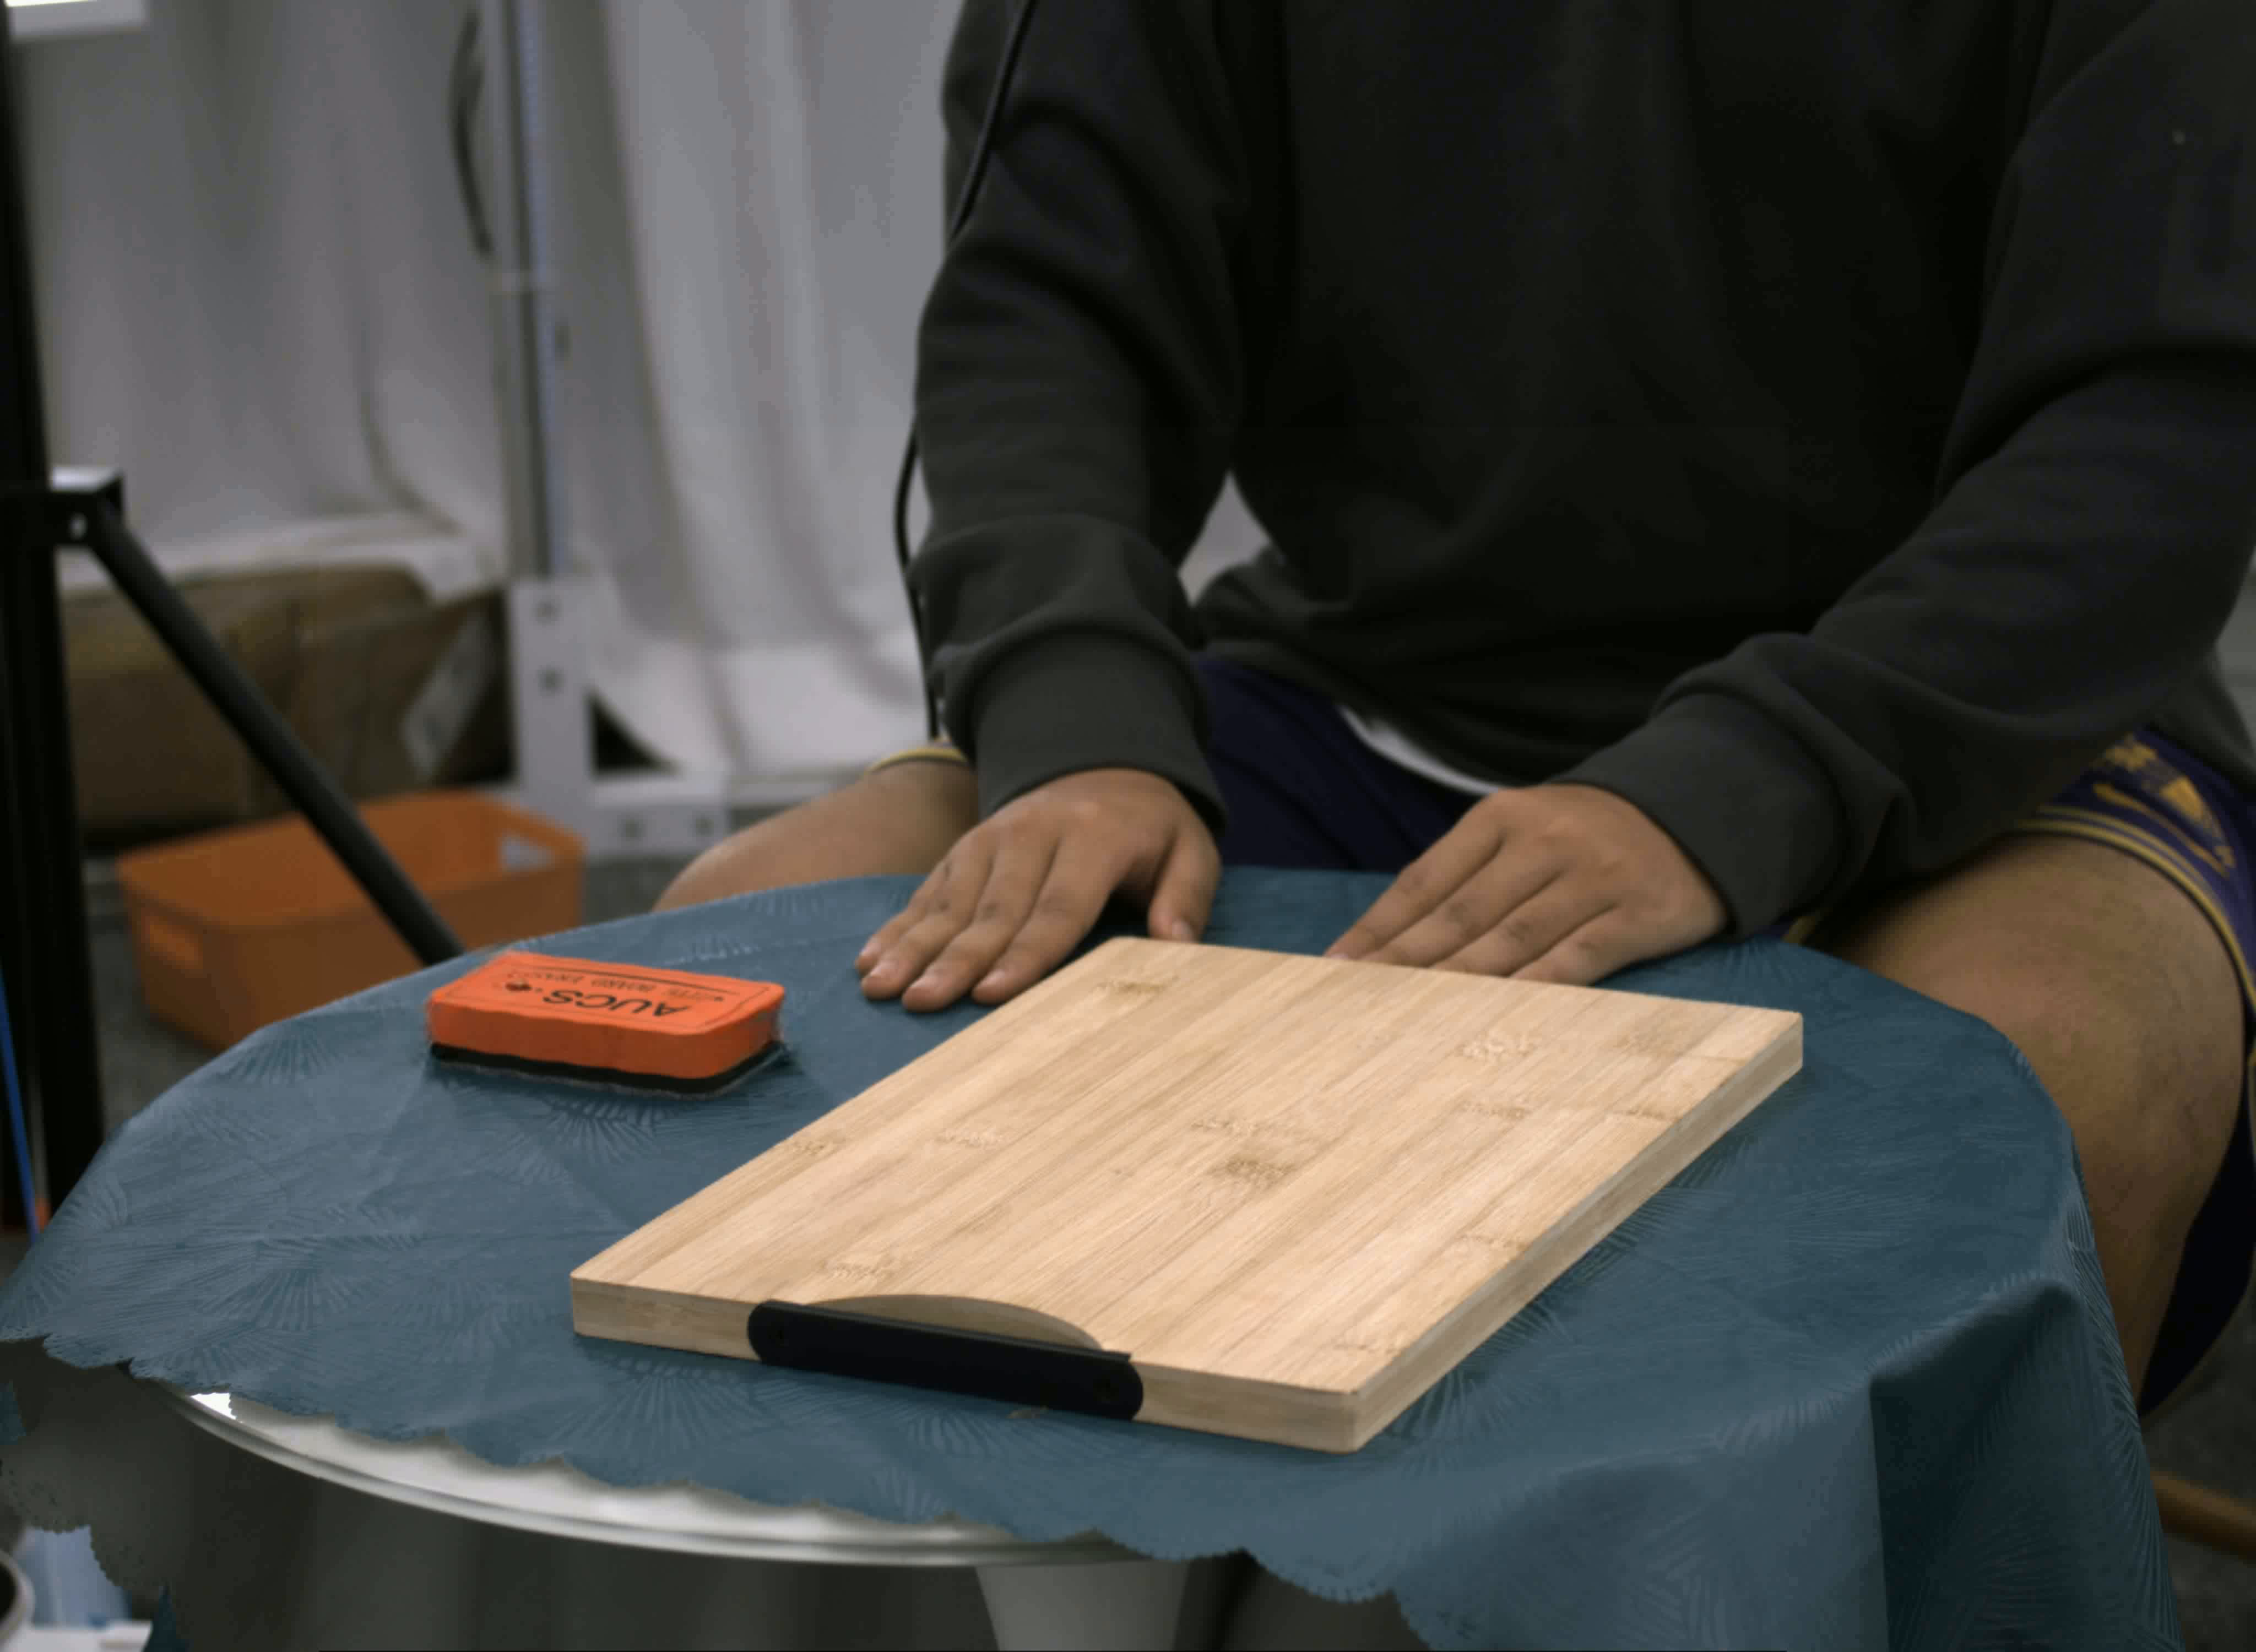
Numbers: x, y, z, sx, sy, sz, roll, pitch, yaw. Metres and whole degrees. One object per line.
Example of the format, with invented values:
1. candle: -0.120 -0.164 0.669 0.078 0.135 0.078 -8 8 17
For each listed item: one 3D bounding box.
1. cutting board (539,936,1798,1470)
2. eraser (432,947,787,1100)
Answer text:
1. cutting board: 0.024 0.102 1.549 0.255 0.023 0.343 5 17 27
2. eraser: -0.165 0.063 1.703 0.110 0.023 0.058 7 19 29
